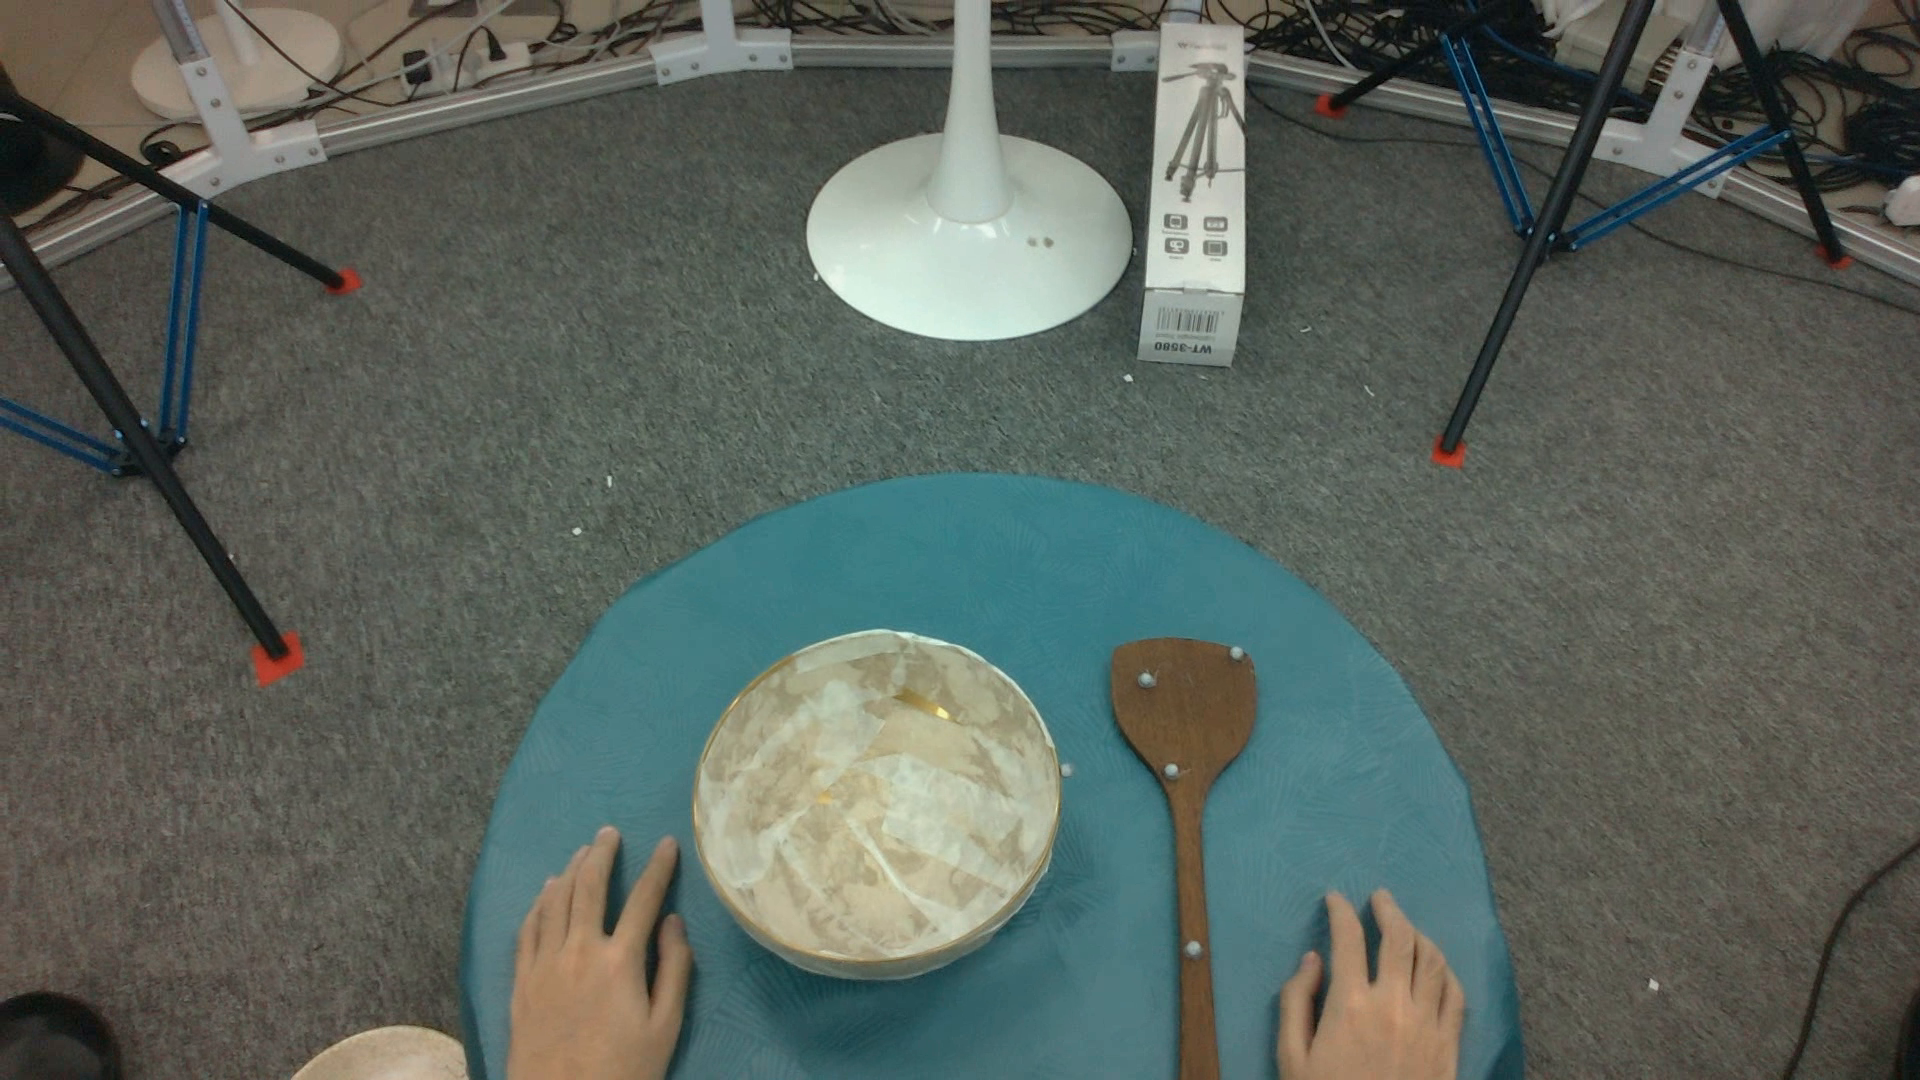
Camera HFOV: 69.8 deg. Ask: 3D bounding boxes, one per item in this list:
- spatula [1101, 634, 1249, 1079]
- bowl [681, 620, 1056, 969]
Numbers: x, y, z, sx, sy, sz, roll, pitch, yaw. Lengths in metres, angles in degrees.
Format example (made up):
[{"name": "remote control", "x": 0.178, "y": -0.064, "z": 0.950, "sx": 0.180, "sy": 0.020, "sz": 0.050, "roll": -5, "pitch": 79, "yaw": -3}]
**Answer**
[{"name": "spatula", "x": 0.129, "y": 0.213, "z": 0.789, "sx": 0.096, "sy": 0.016, "sz": 0.388, "roll": 3, "pitch": 51, "yaw": 1}, {"name": "bowl", "x": -0.053, "y": 0.155, "z": 0.779, "sx": 0.215, "sy": 0.094, "sz": 0.215, "roll": 2, "pitch": 52, "yaw": -2}]
